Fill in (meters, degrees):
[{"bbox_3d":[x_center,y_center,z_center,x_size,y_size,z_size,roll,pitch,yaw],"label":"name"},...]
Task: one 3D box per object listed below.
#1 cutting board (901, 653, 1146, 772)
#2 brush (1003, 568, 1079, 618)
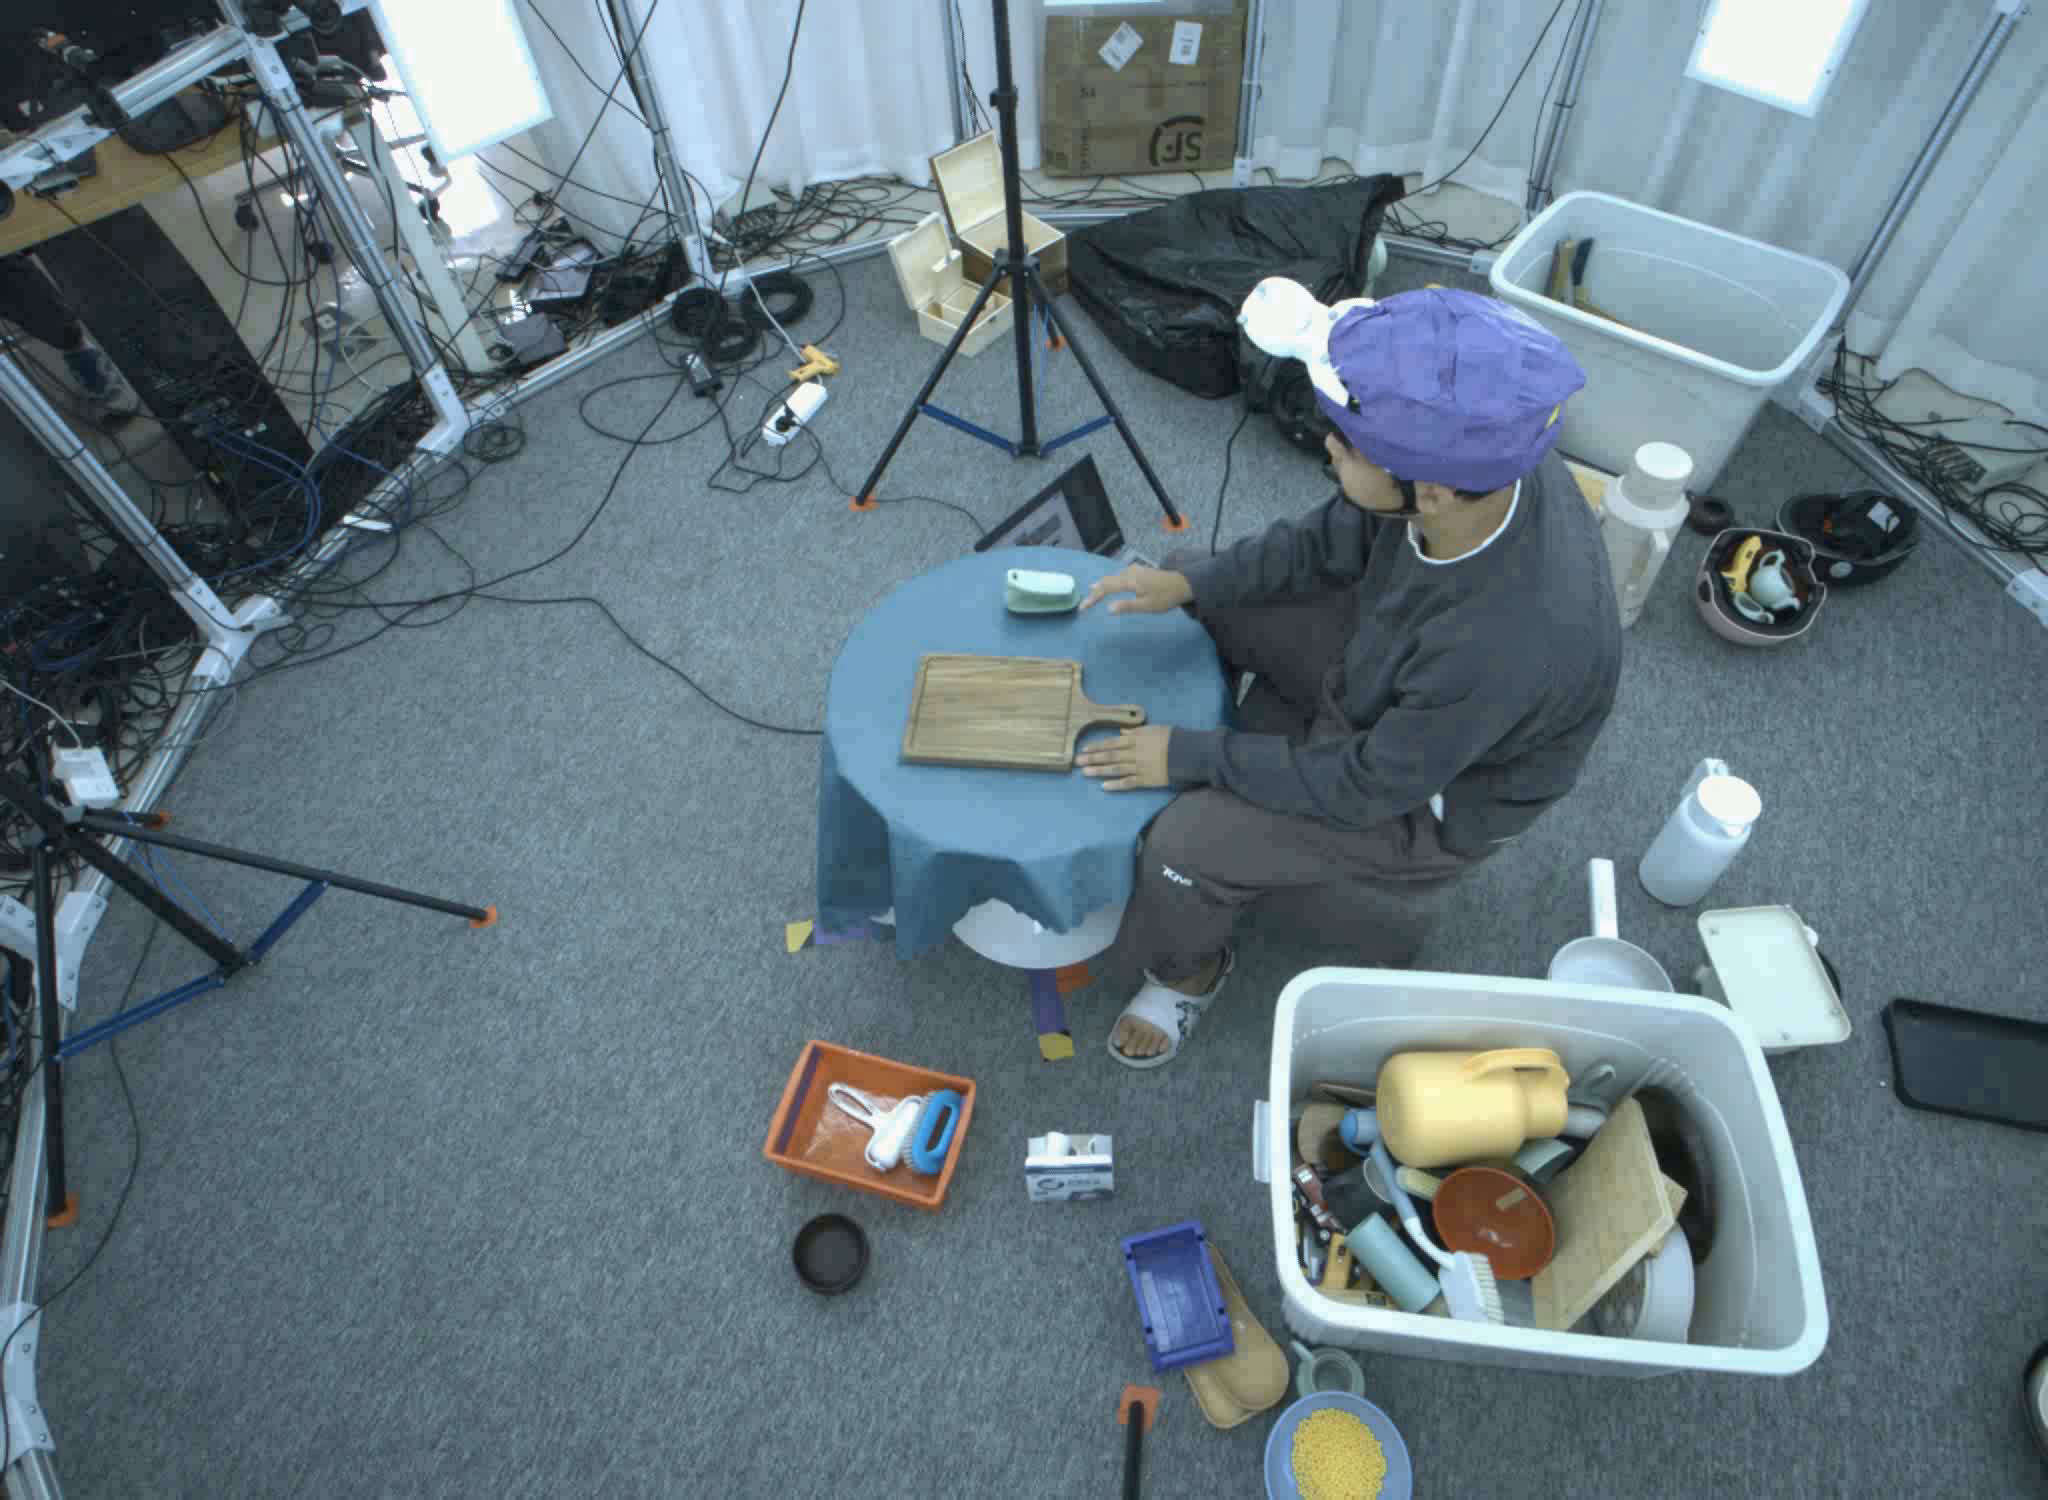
[{"bbox_3d":[0.004,-0.055,1.814,0.351,0.023,0.199,4,55,4],"label":"cutting board"},{"bbox_3d":[0.024,-0.245,1.928,0.124,0.076,0.059,5,54,-12],"label":"brush"}]
